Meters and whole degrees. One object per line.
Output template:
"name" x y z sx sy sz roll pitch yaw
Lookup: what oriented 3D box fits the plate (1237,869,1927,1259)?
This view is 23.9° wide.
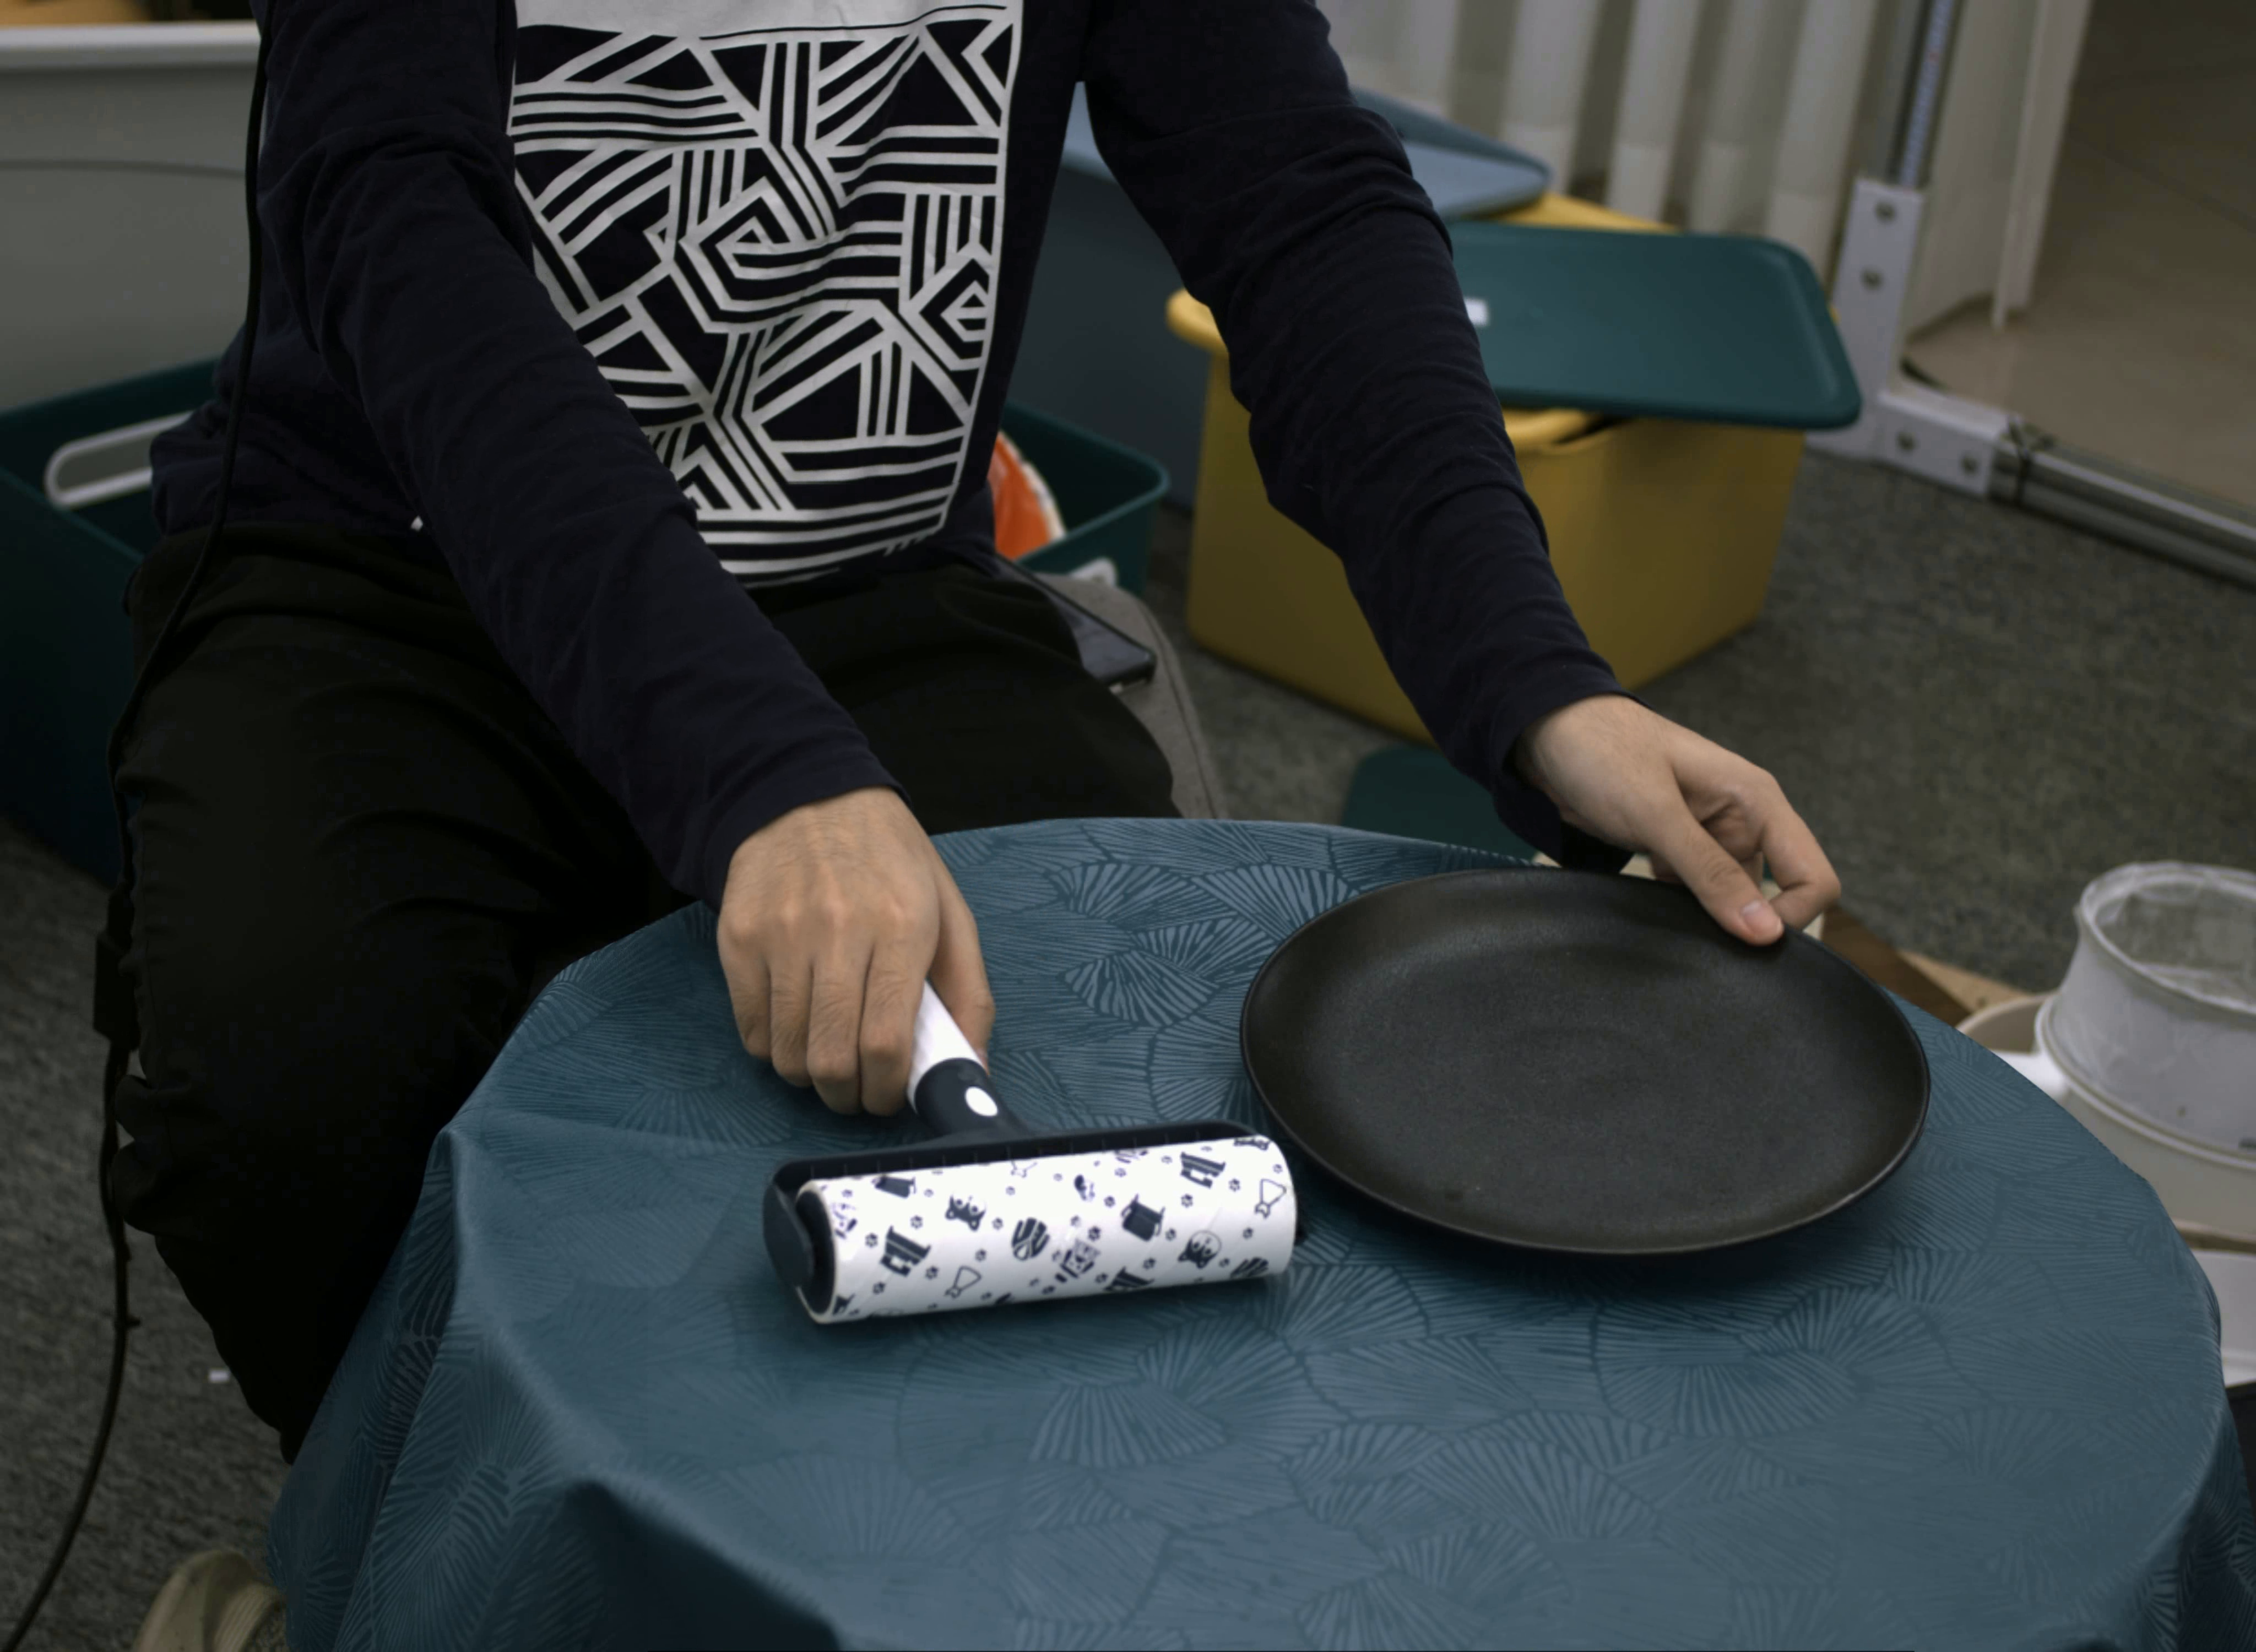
"plate" 0.158 0.087 1.873 0.243 0.023 0.246 2 31 -2

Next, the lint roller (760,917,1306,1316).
"lint roller" -0.064 0.086 1.817 0.175 0.050 0.249 -5 27 -20
